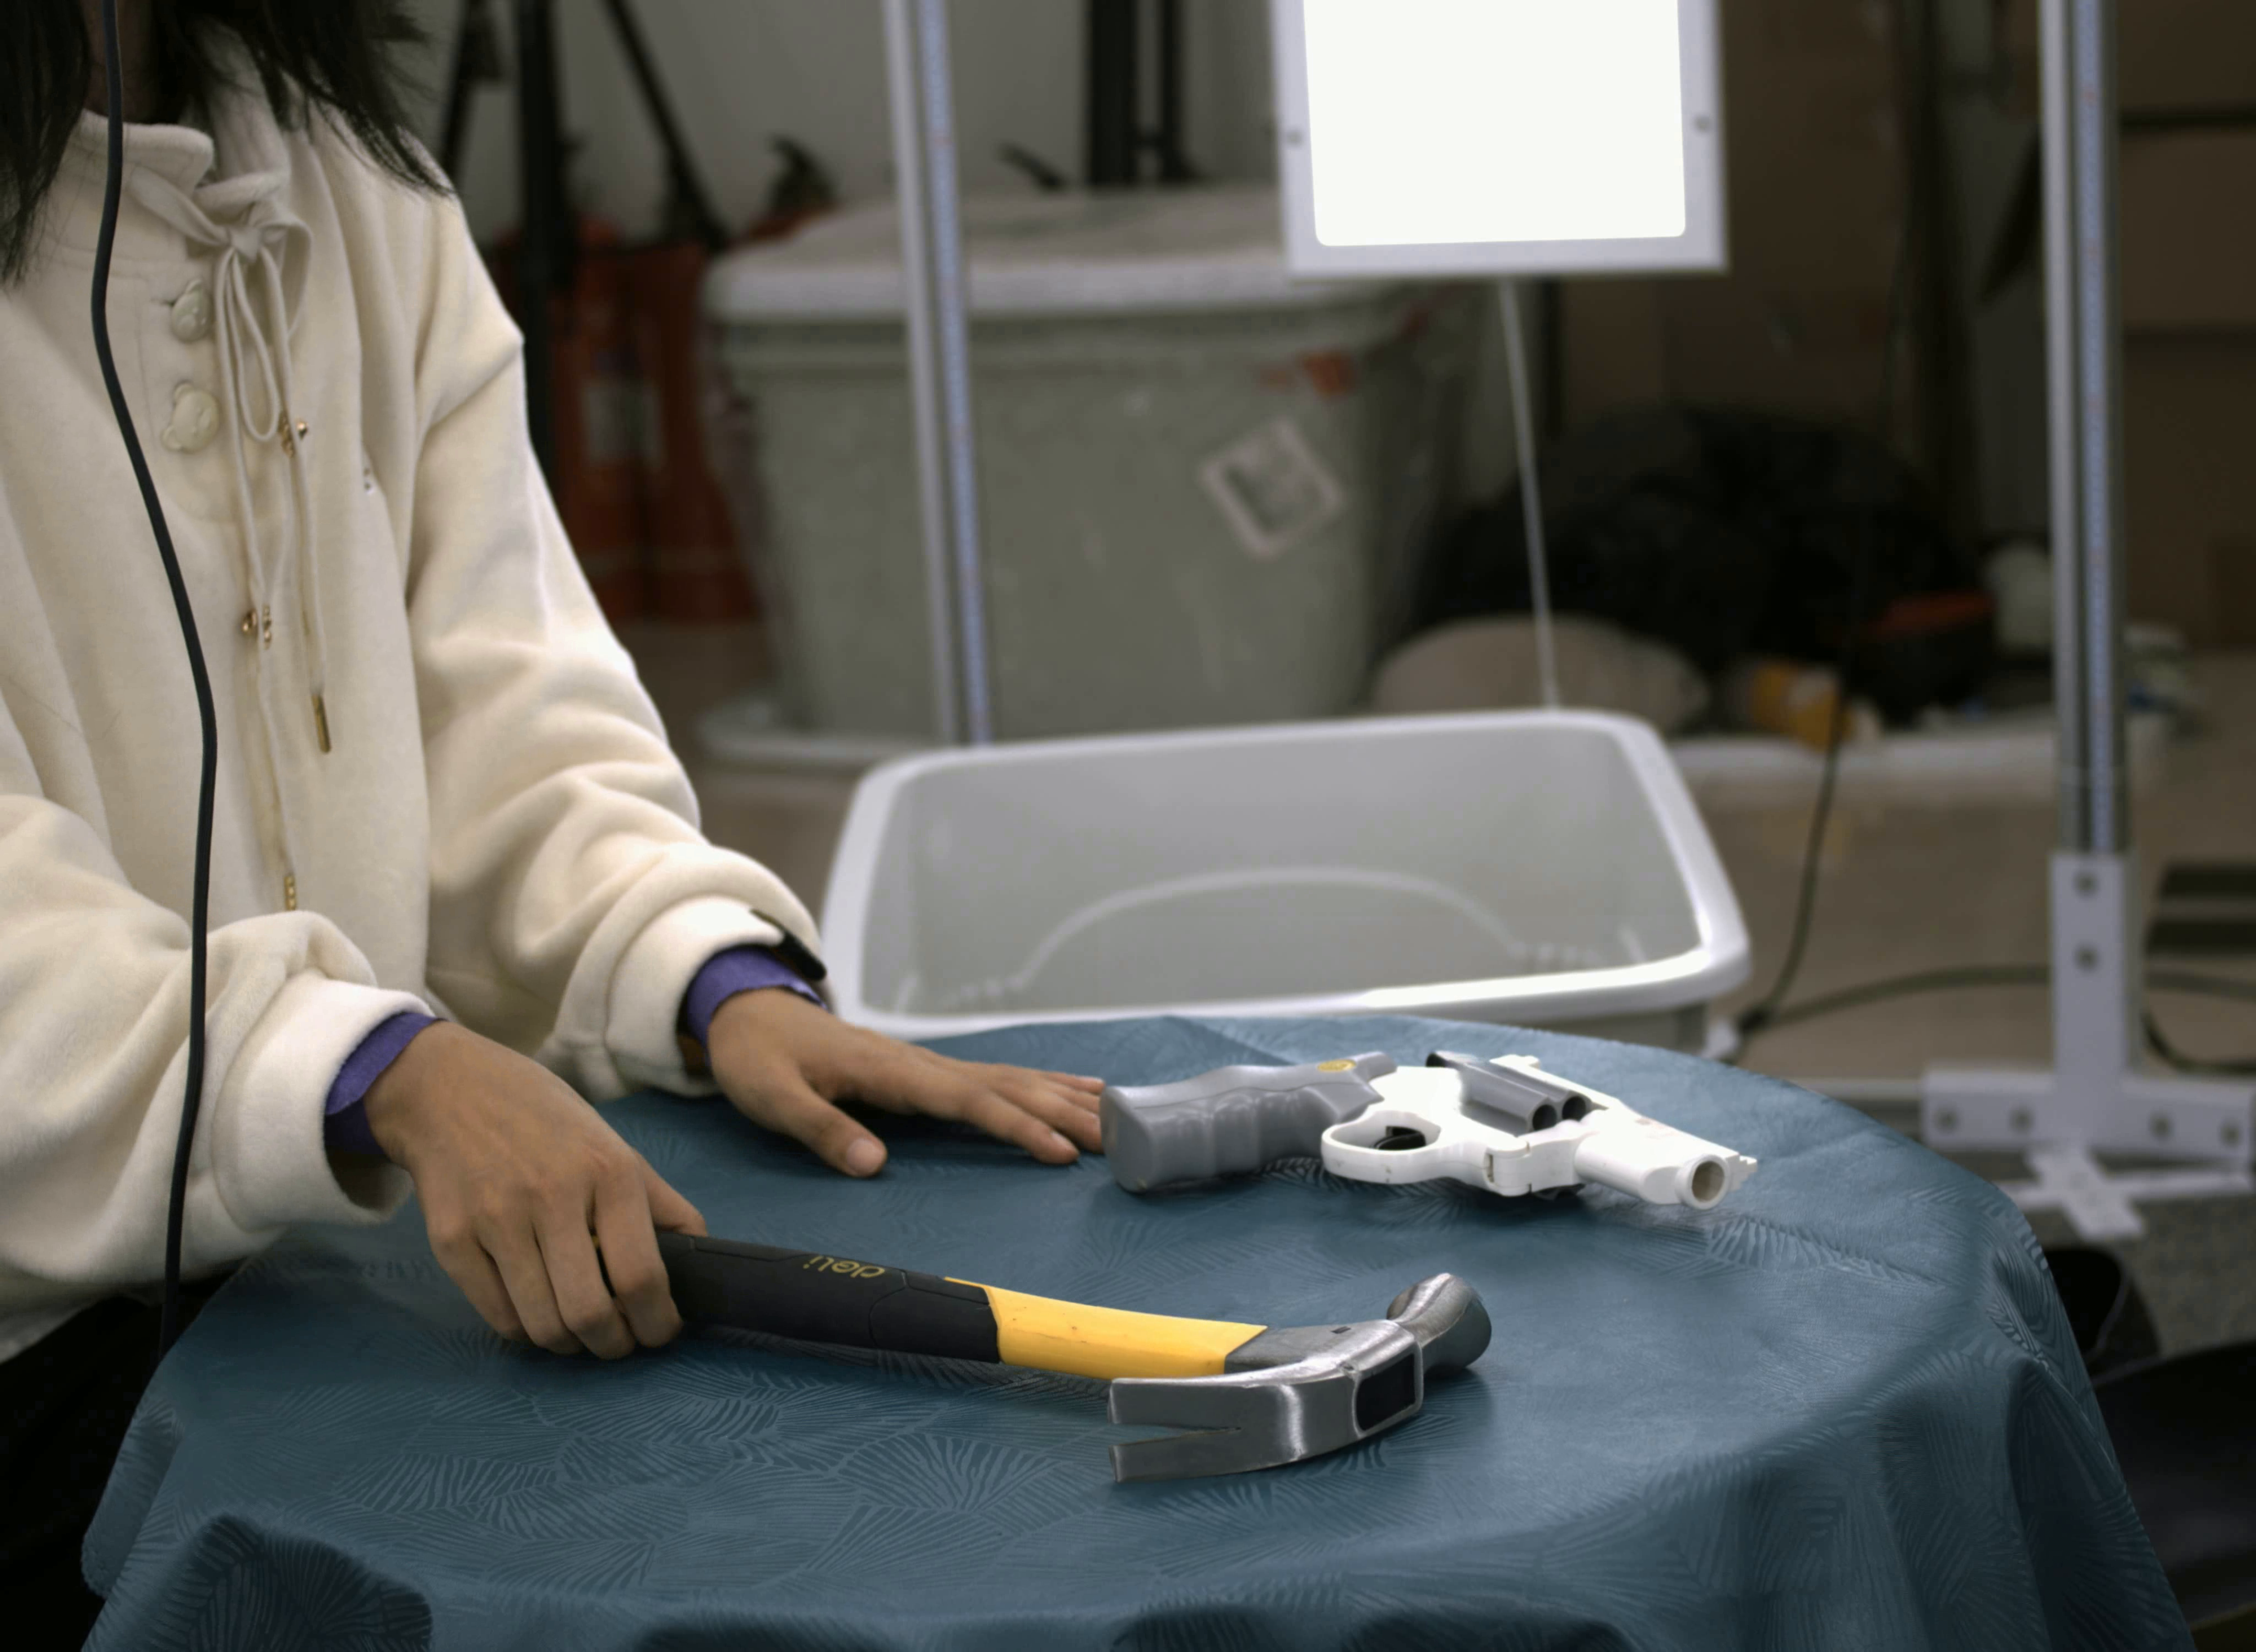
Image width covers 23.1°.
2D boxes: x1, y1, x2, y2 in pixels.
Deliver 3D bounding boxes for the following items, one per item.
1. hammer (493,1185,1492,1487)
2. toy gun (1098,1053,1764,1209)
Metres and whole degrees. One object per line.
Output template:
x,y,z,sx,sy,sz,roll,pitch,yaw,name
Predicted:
-0.062,0.150,1.736,0.345,0.032,0.128,7,20,34,hammer
0.098,0.107,1.861,0.138,0.039,0.213,-13,16,-31,toy gun
